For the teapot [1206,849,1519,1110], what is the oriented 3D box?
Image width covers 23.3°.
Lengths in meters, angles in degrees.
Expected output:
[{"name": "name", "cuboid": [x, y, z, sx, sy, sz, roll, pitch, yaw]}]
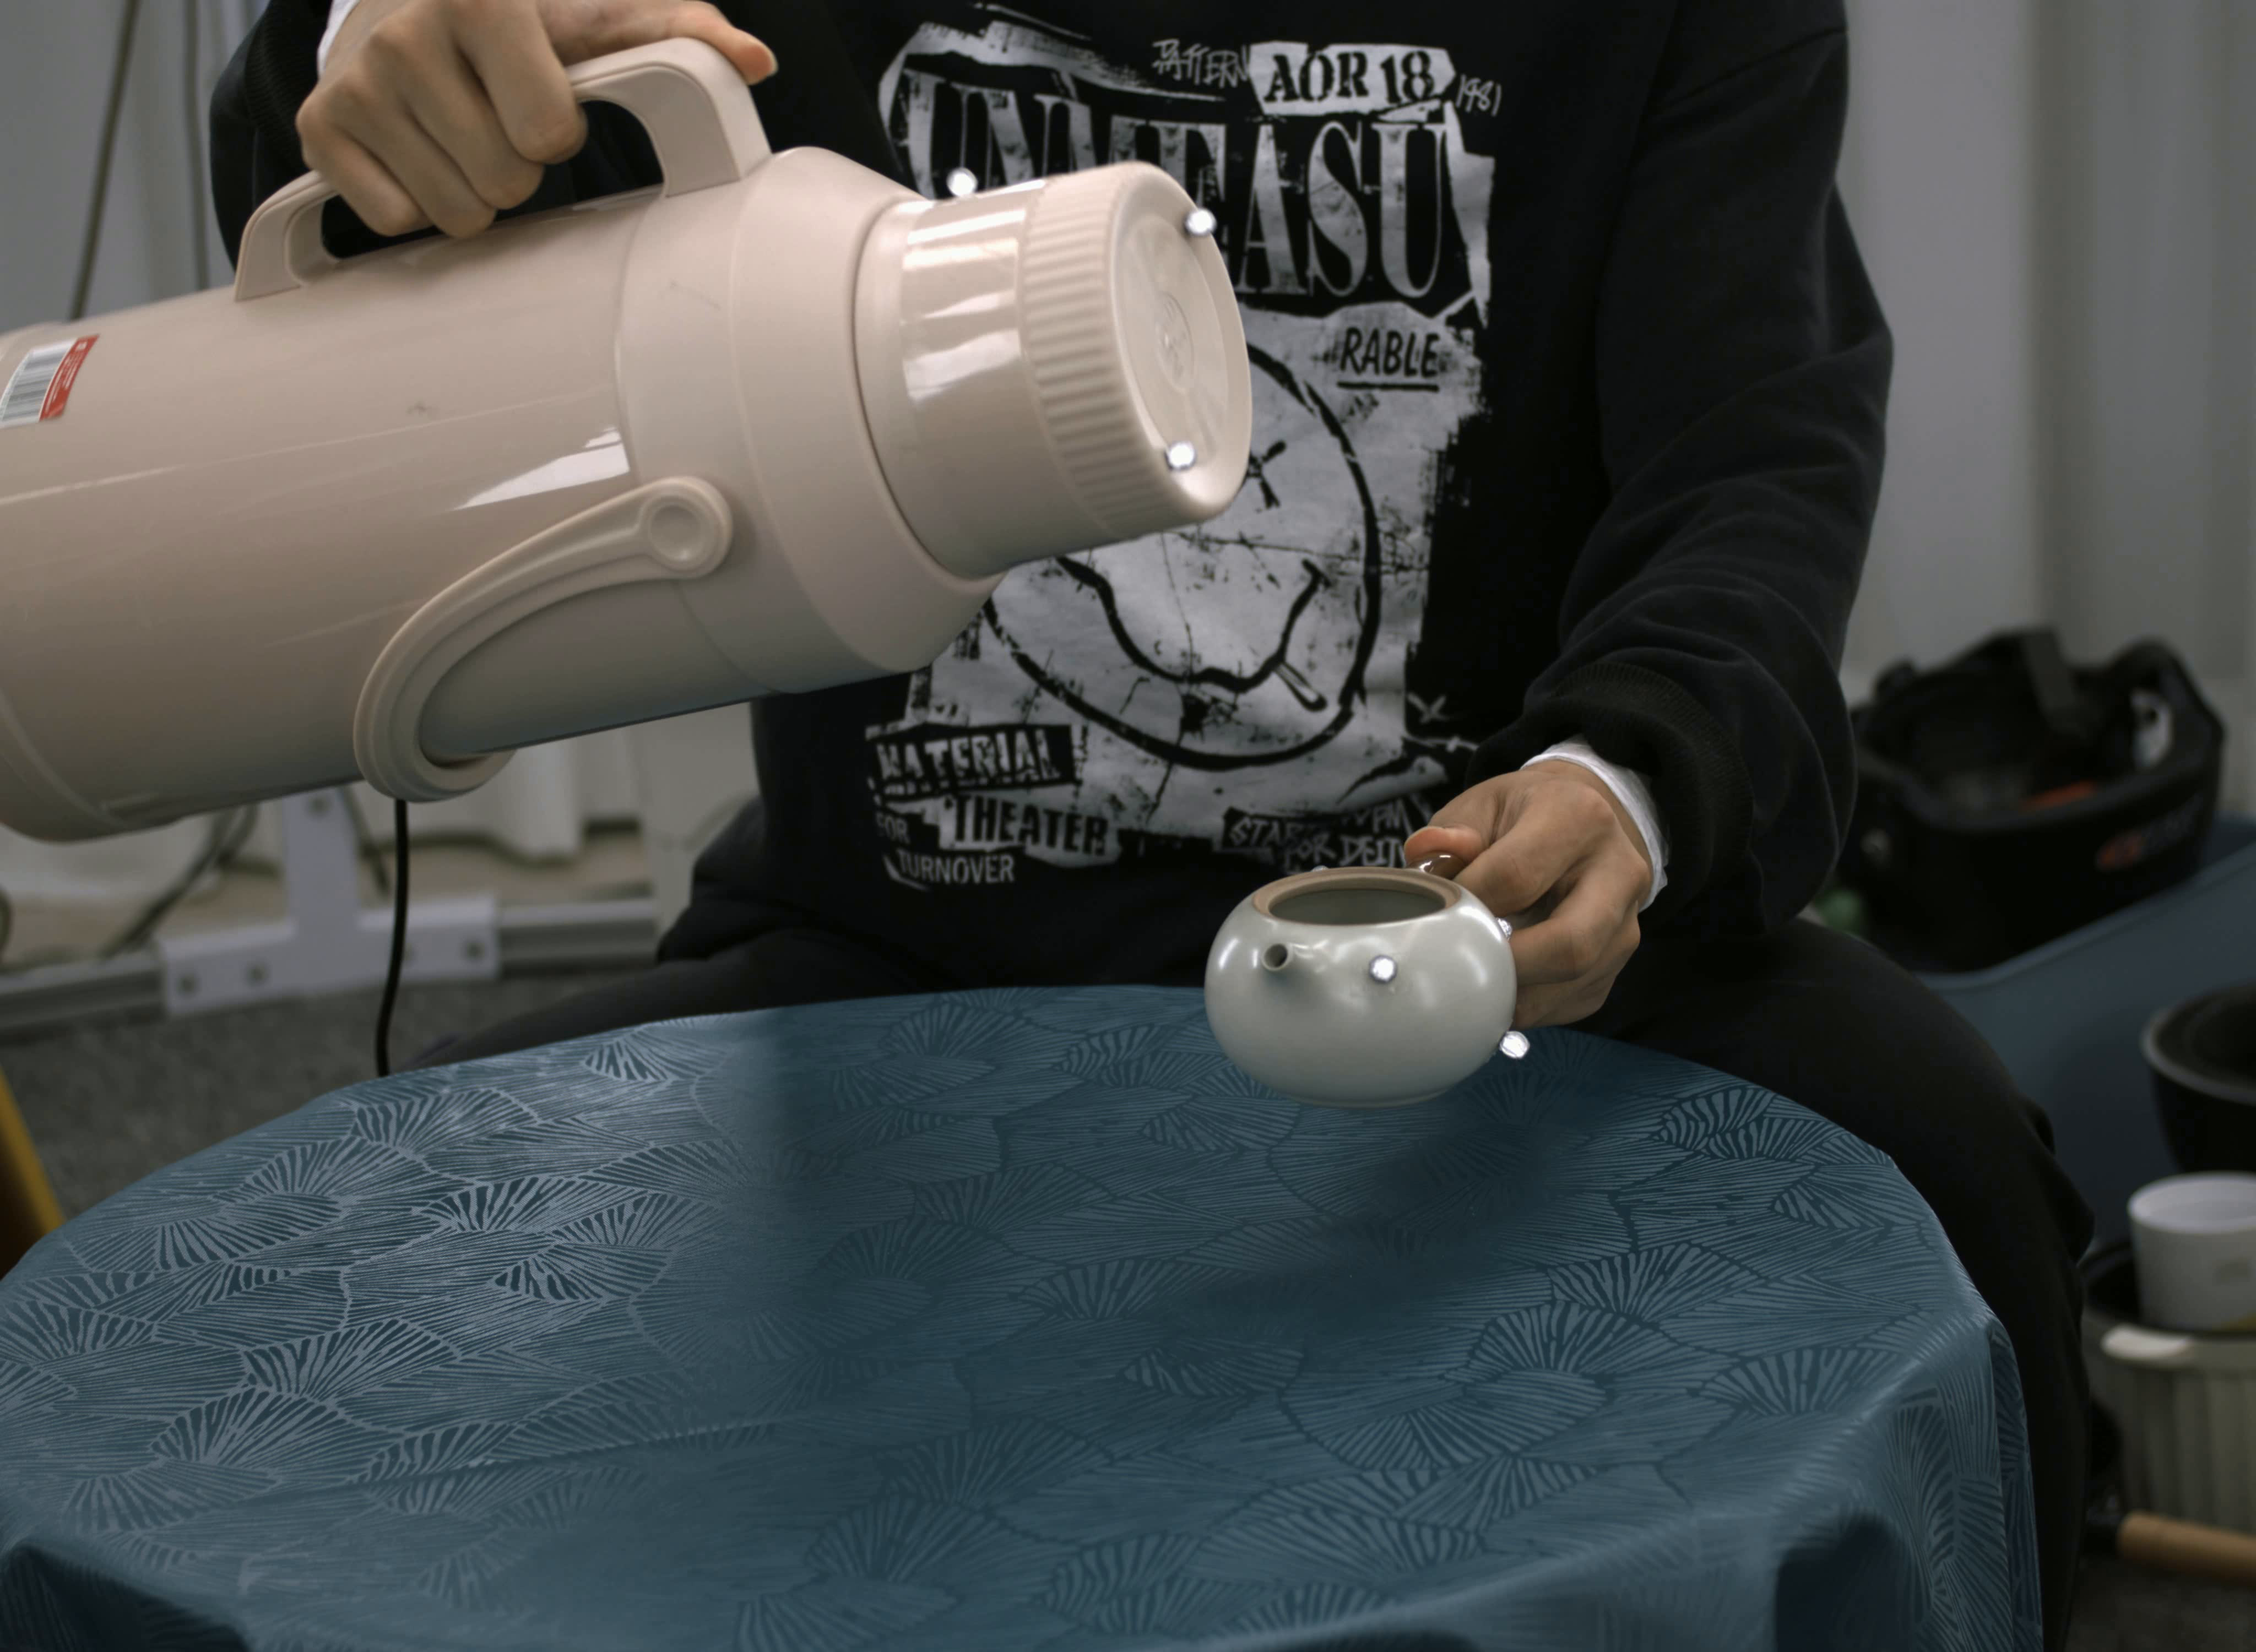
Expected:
[{"name": "teapot", "cuboid": [0.073, 0.045, 1.608, 0.092, 0.059, 0.128, 2, 16, 28]}]

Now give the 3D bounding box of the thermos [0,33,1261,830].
[{"name": "thermos", "cuboid": [-0.168, -0.120, 1.634, 0.406, 0.206, 0.176, -9, 20, 25]}]
